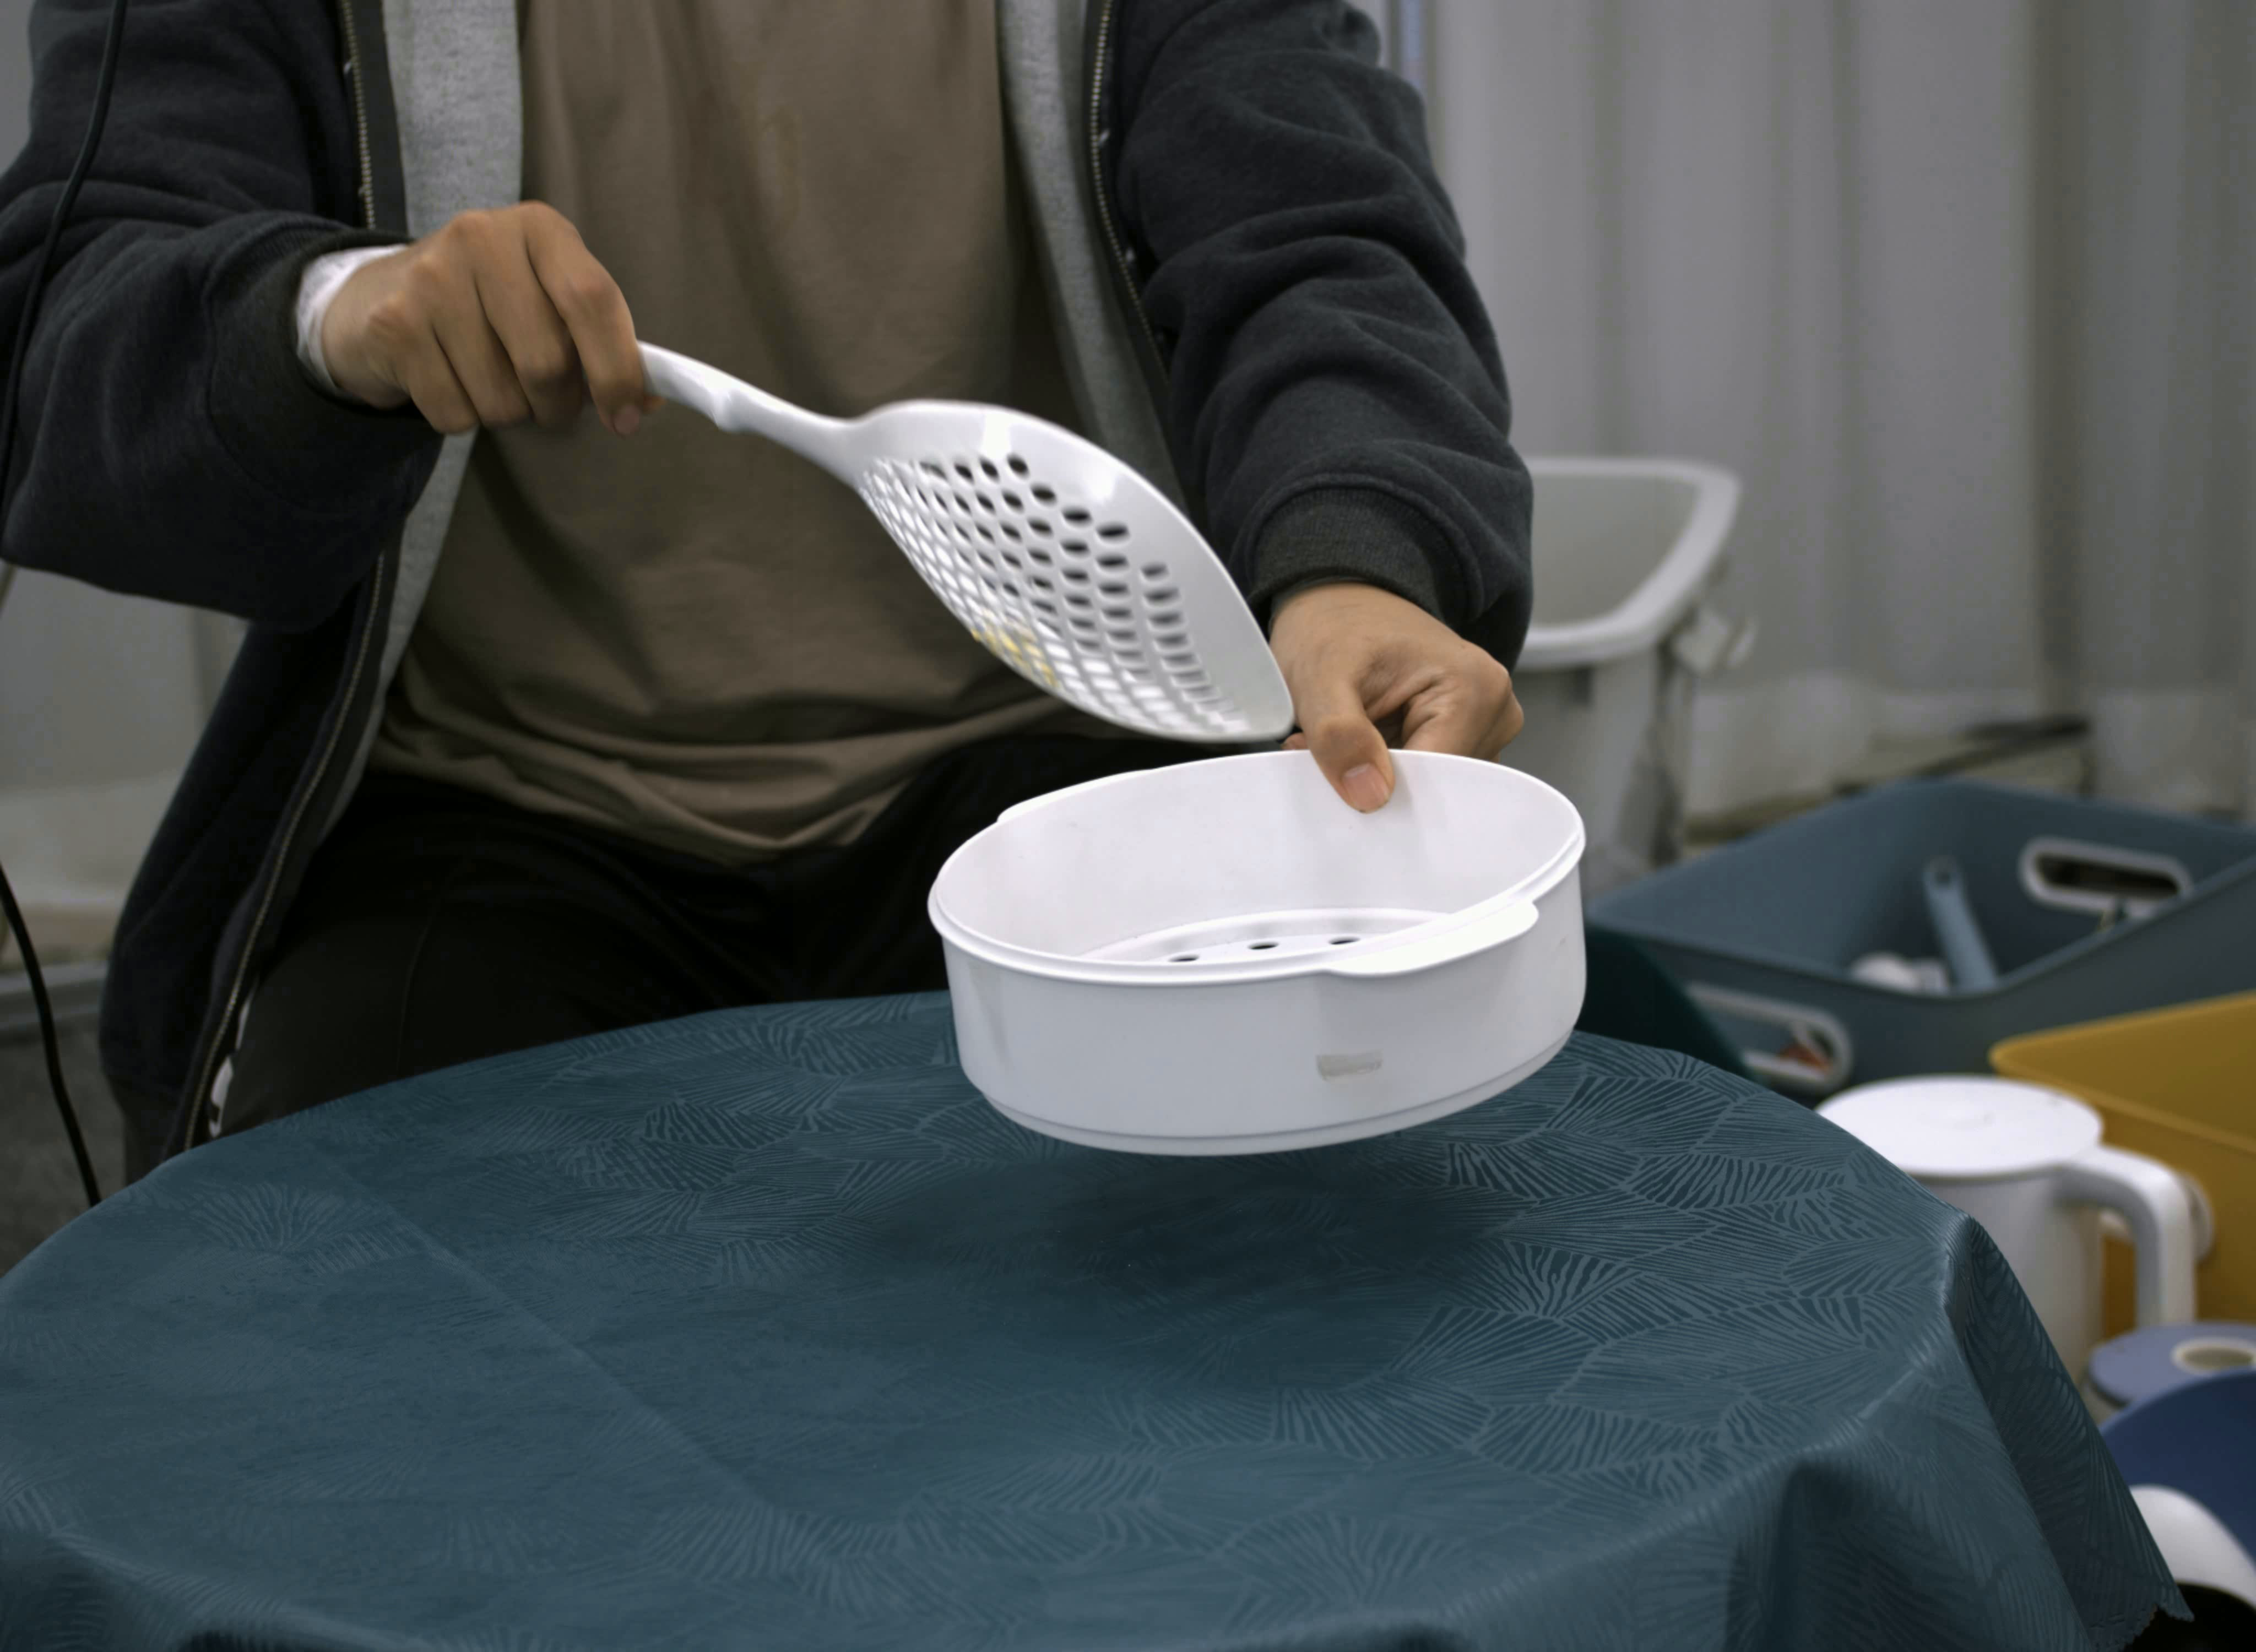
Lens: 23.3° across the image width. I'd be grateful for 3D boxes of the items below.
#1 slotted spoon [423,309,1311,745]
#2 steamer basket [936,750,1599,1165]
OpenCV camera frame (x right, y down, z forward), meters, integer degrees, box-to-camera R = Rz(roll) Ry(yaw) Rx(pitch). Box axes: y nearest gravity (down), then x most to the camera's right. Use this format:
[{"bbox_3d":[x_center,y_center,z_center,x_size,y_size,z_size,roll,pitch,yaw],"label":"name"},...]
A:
[{"bbox_3d":[-0.088,-0.104,1.668,0.351,0.135,0.050,30,70,38],"label":"slotted spoon"},{"bbox_3d":[0.044,0.040,1.660,0.201,0.069,0.232,-16,22,-28],"label":"steamer basket"}]
